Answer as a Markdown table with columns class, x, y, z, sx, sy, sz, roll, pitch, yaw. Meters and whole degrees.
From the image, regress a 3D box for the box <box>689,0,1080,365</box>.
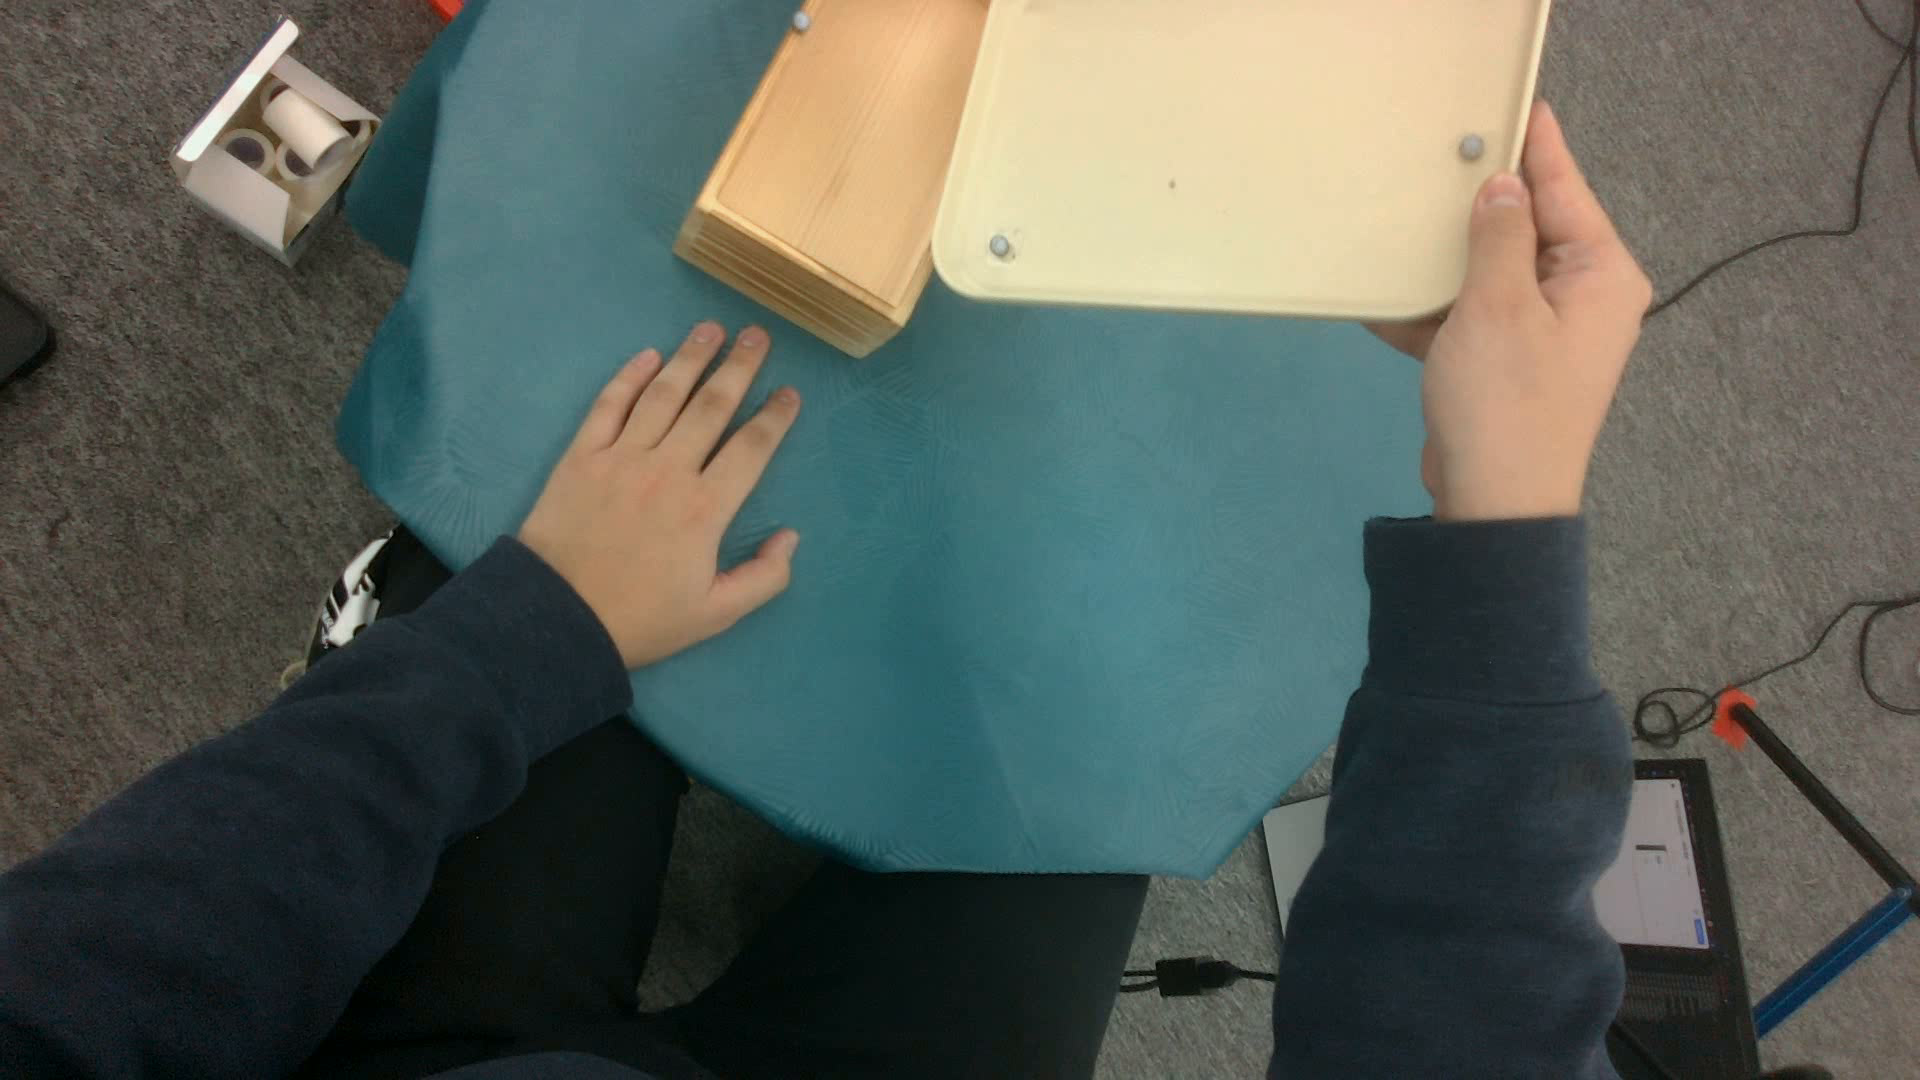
| class | x | y | z | sx | sy | sz | roll | pitch | yaw |
| --- | --- | --- | --- | --- | --- | --- | --- | --- | --- |
| box | -0.035 | -0.208 | 0.684 | 0.107 | 0.080 | 0.212 | 28 | 77 | -14 |

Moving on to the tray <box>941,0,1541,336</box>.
| class | x | y | z | sx | sy | sz | roll | pitch | yaw |
| --- | --- | --- | --- | --- | --- | --- | --- | --- | --- |
| tray | 0.109 | -0.168 | 0.576 | 0.017 | 0.239 | 0.171 | 27 | 74 | -58 |
